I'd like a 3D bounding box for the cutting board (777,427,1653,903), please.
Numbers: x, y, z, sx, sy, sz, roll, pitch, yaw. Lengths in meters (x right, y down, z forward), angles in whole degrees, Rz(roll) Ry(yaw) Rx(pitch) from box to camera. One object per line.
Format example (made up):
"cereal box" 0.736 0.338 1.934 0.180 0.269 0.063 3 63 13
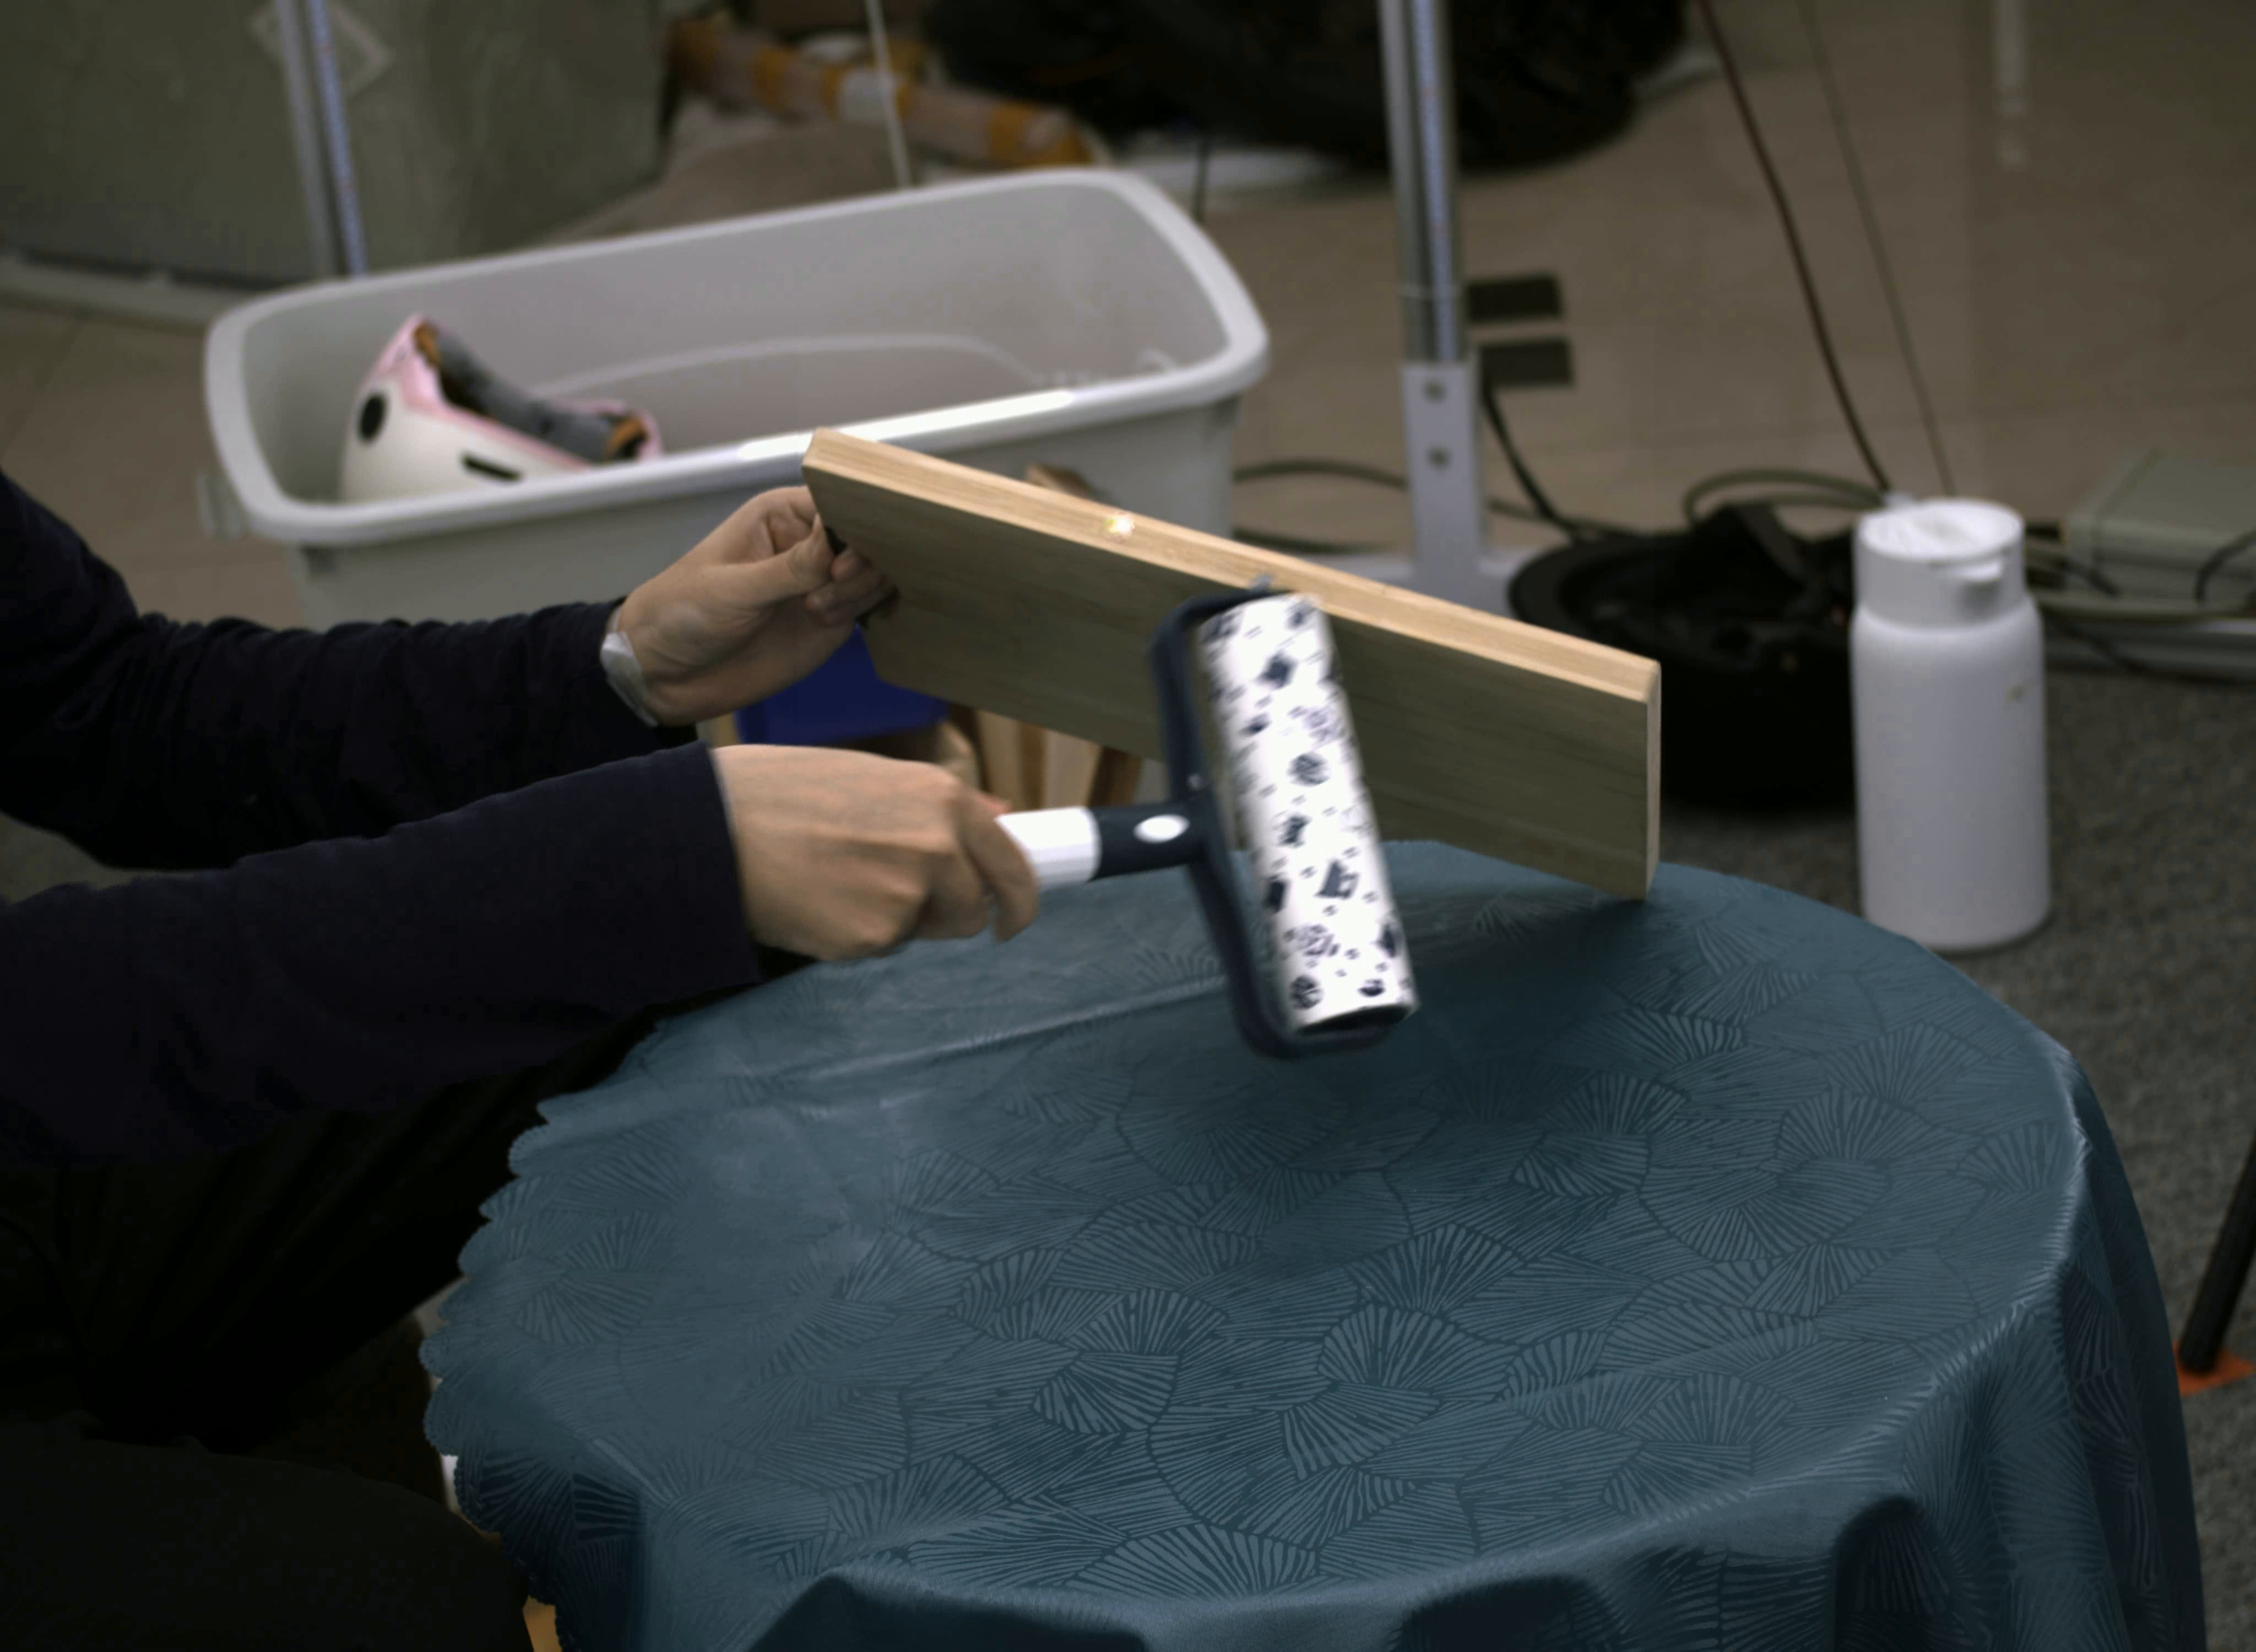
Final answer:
"cutting board" 0.040 -0.062 2.250 0.347 0.253 0.023 16 74 9

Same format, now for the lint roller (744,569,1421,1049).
"lint roller" -0.019 0.006 2.053 0.246 0.176 0.050 -9 -7 -25
